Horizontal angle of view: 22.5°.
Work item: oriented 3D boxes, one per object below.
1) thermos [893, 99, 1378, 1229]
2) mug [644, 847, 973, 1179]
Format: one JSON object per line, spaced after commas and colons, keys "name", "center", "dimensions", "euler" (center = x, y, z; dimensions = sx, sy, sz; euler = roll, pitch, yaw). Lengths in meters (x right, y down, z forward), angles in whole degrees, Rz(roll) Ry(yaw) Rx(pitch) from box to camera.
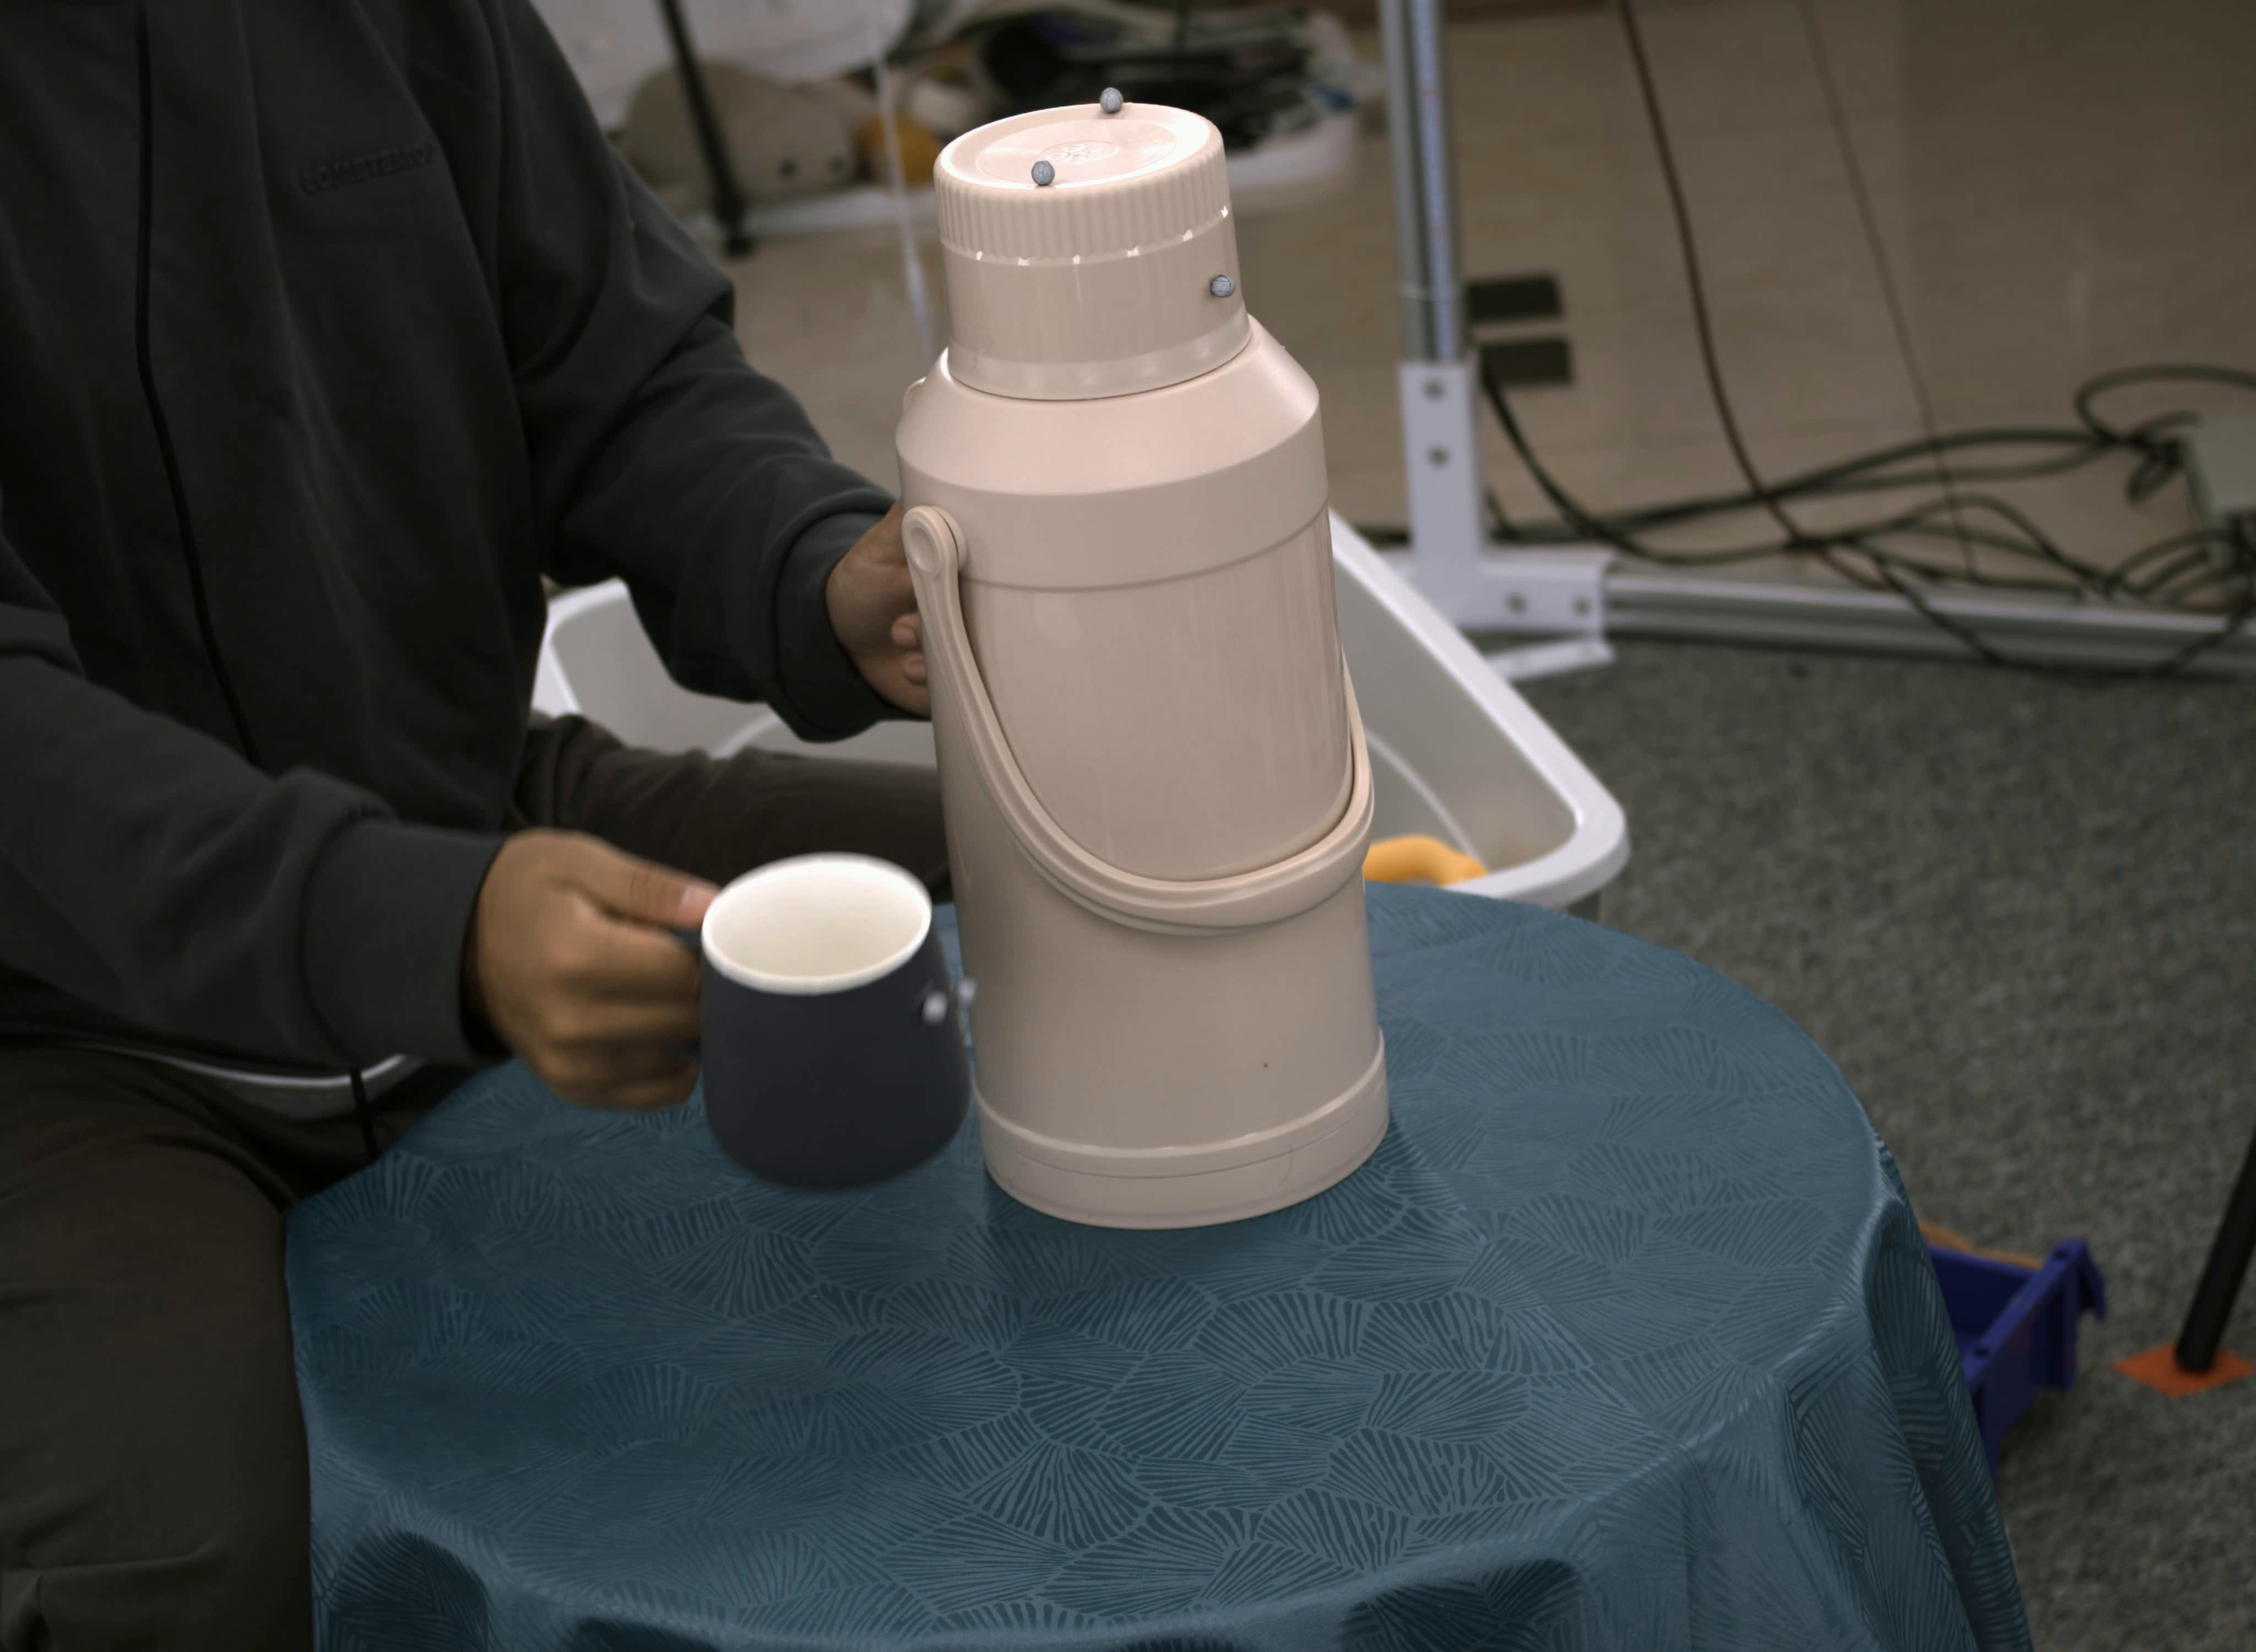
{"name": "thermos", "center": [-0.007, -0.065, 2.112], "dimensions": [0.174, 0.413, 0.205], "euler": [-24, 31, -32]}
{"name": "mug", "center": [-0.115, 0.062, 1.971], "dimensions": [0.122, 0.091, 0.092], "euler": [16, 39, 28]}
